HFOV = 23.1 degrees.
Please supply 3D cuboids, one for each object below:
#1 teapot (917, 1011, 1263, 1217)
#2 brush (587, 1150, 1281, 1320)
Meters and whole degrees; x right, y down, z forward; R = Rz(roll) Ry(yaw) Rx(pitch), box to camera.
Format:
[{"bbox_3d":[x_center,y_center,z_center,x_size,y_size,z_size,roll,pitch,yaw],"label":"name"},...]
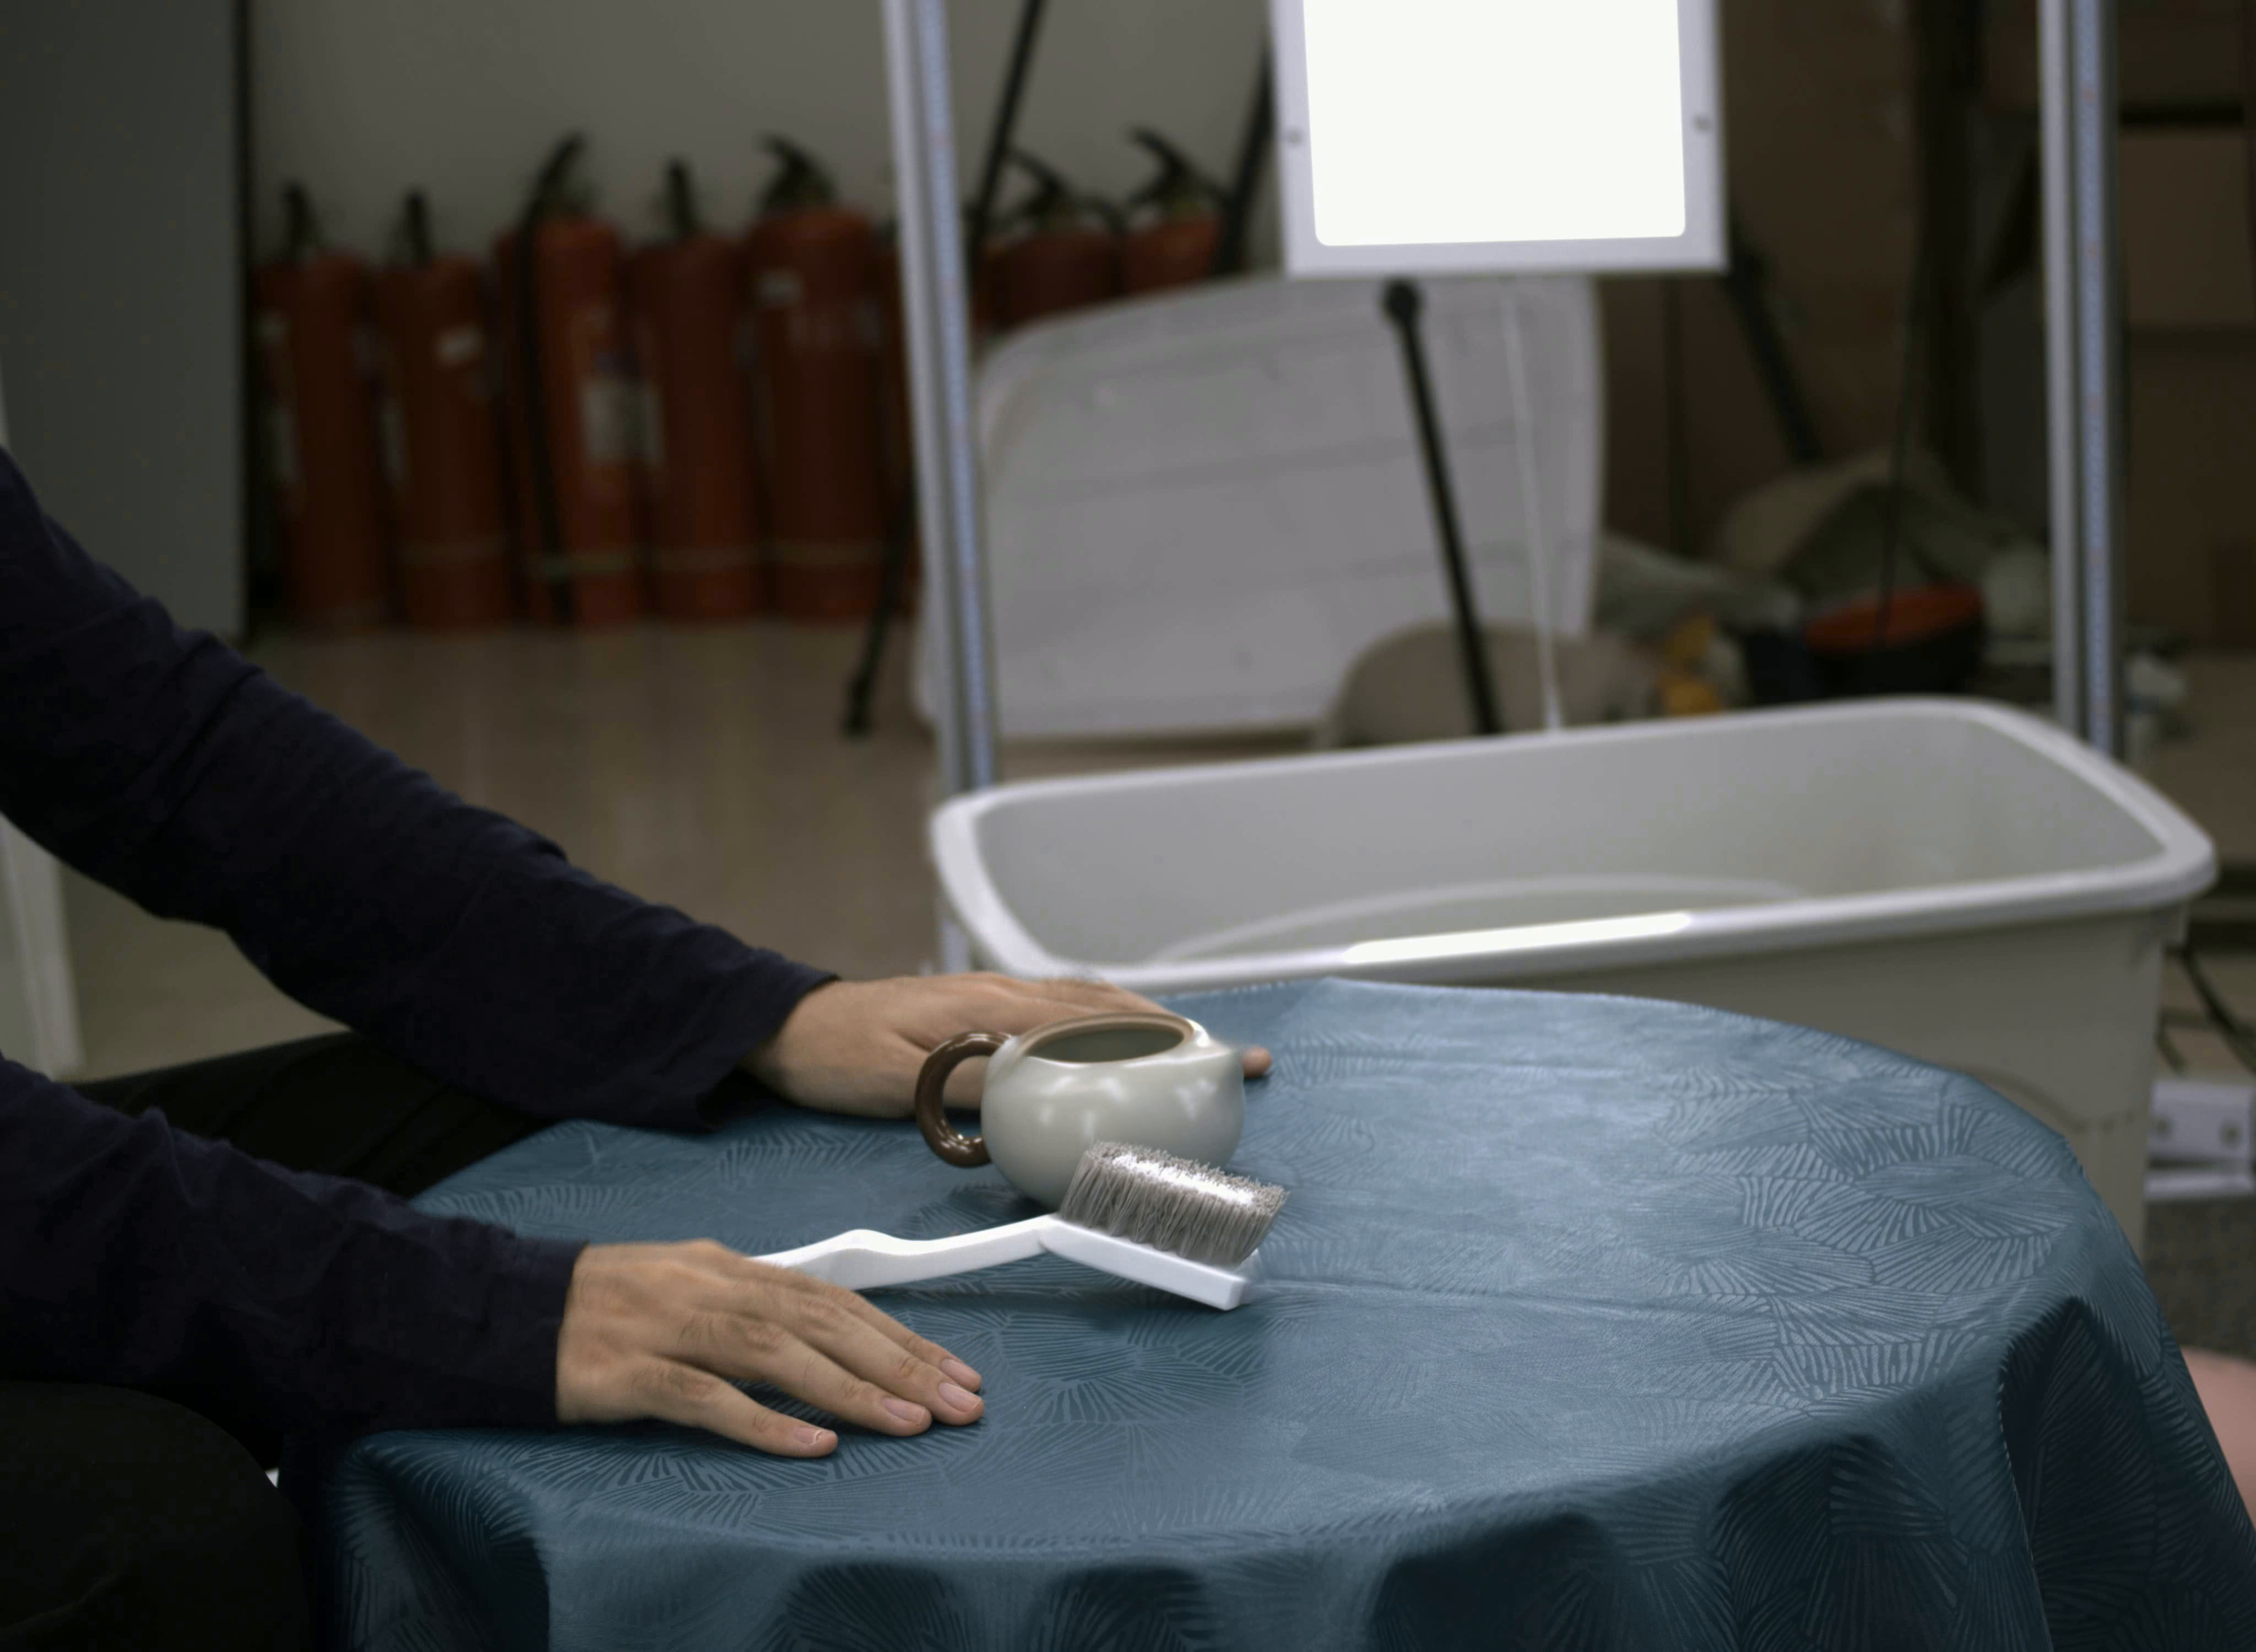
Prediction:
[{"bbox_3d":[-0.013,0.099,1.898,0.130,0.060,0.090,0,18,20],"label":"teapot"},{"bbox_3d":[-0.067,0.131,1.808,0.247,0.050,0.034,0,19,22],"label":"brush"}]
